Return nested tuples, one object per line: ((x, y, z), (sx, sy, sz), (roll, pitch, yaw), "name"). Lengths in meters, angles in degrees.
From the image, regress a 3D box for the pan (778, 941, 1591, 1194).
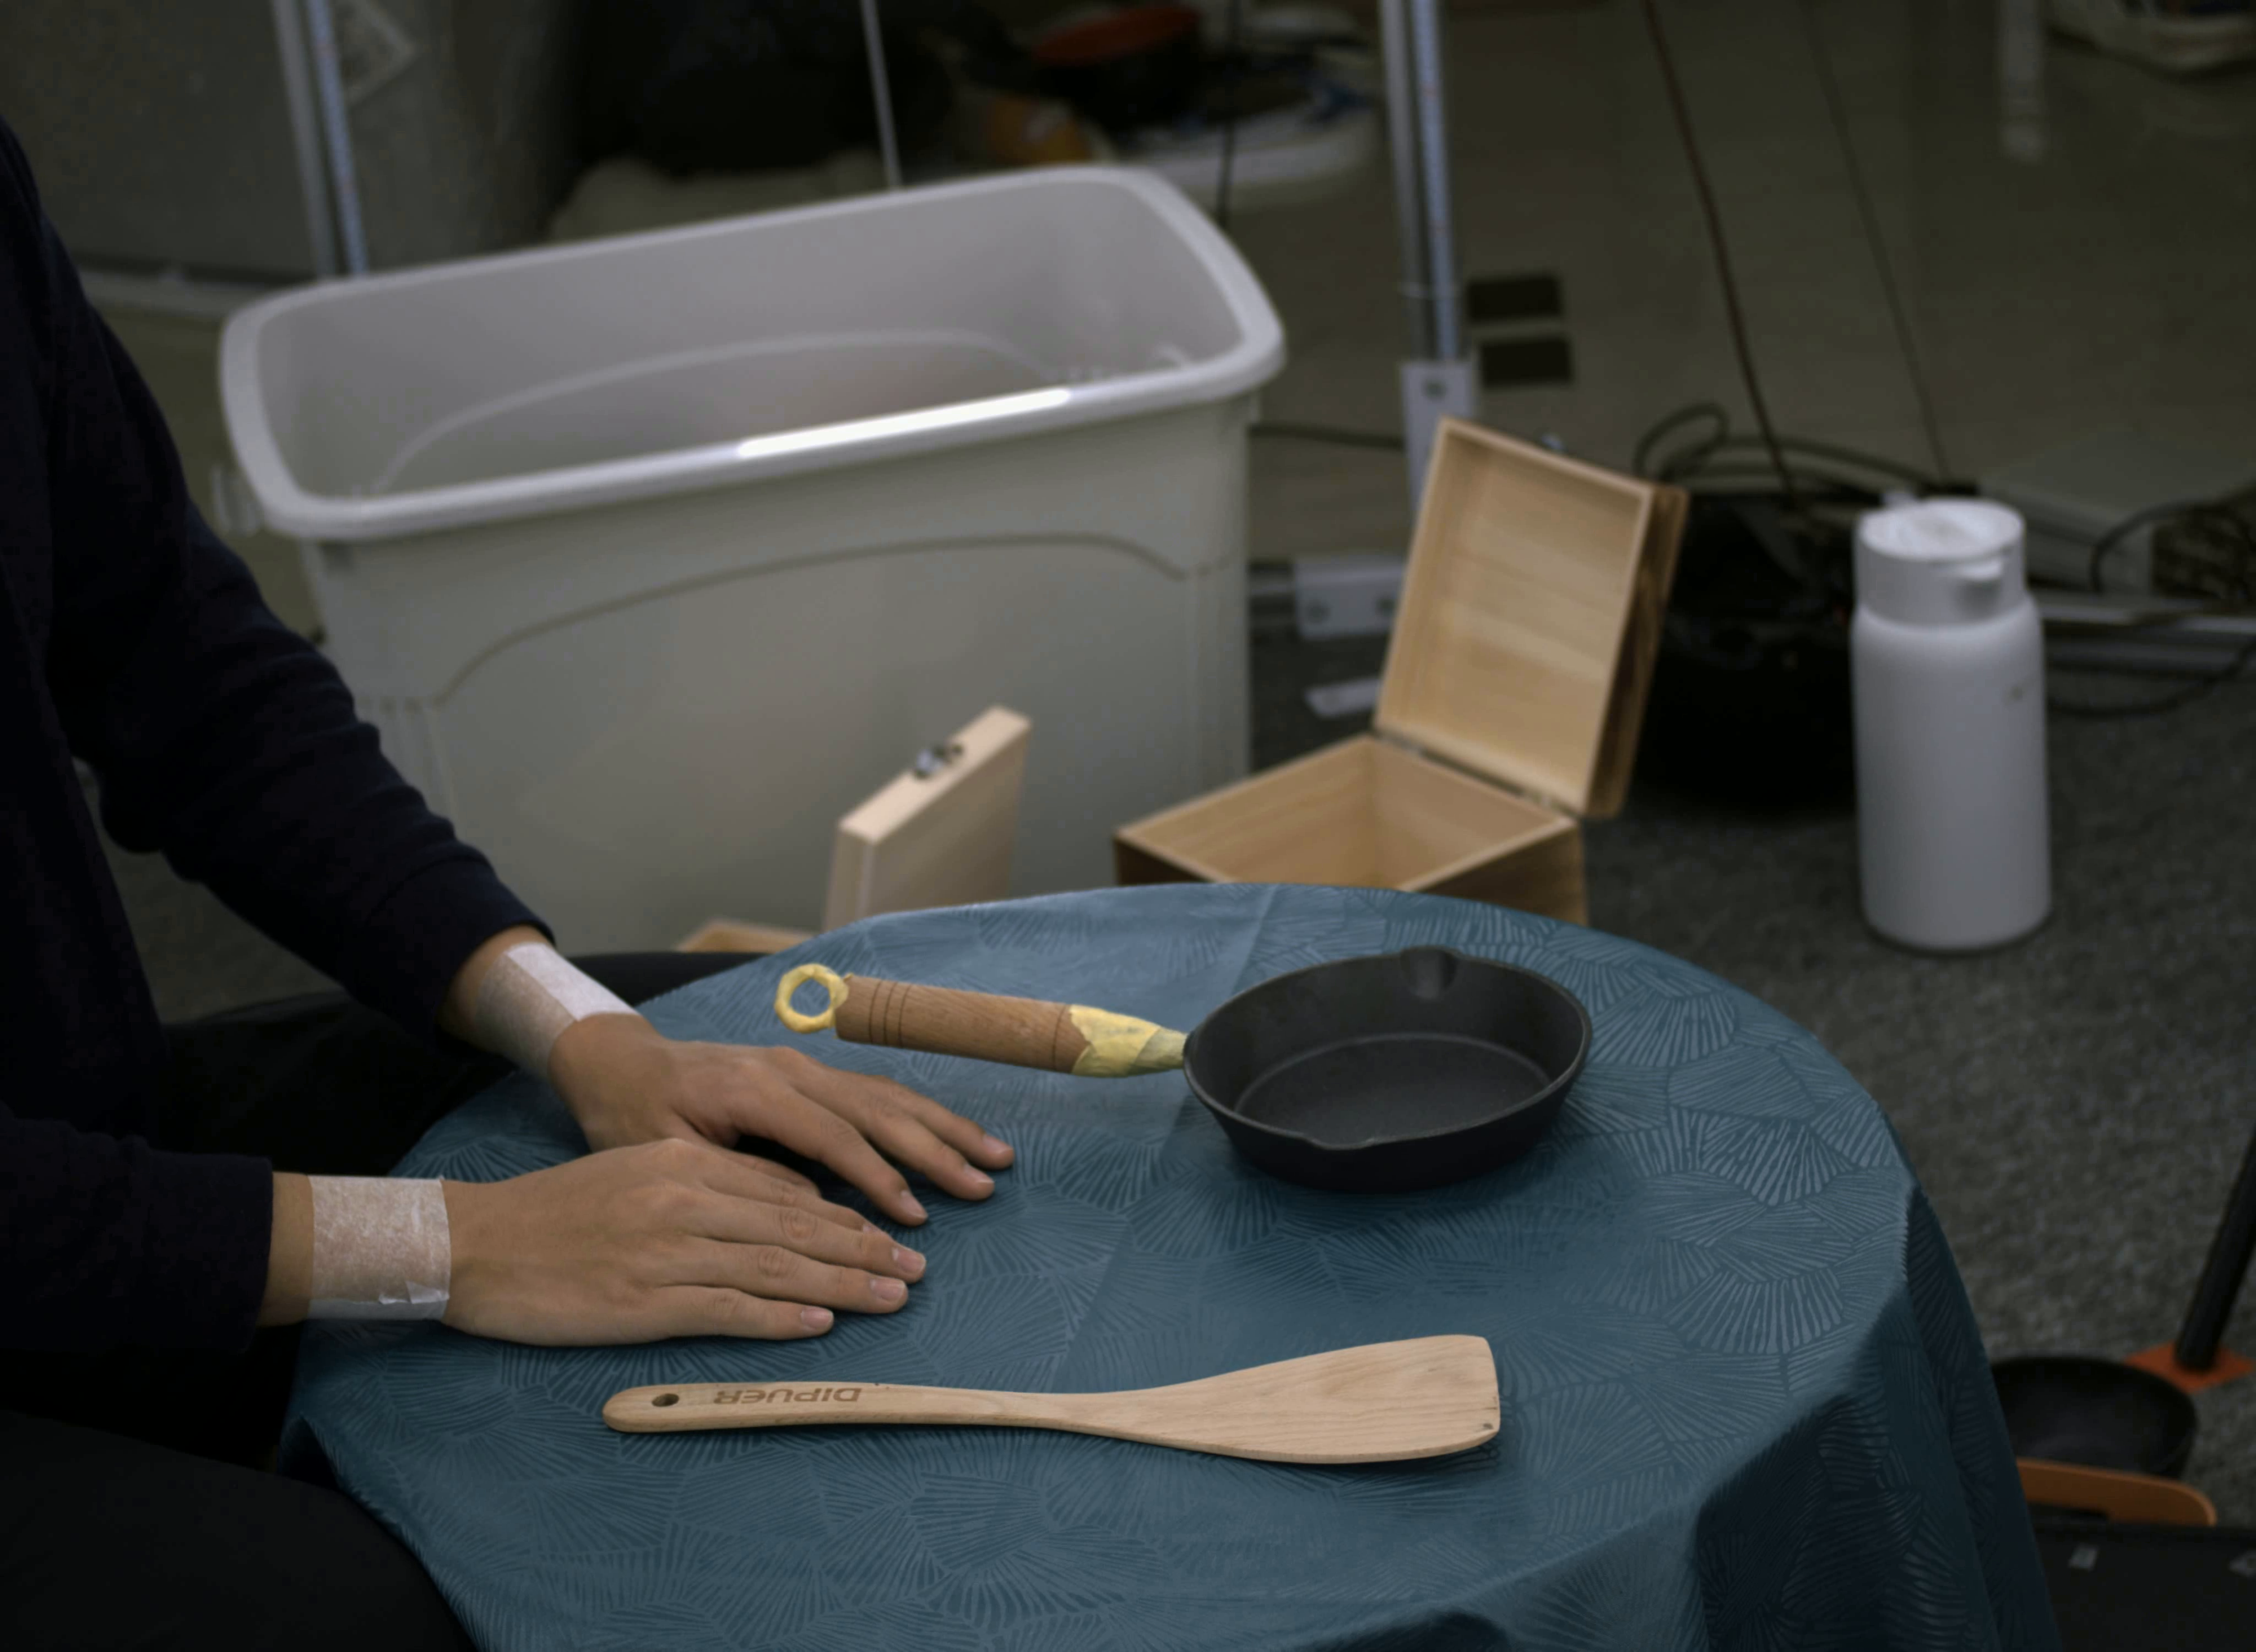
((0.019, 0.086, 2.194), (0.323, 0.050, 0.166), (3, 27, 17), "pan")

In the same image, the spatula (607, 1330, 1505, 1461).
((-0.026, 0.202, 2.000), (0.327, 0.017, 0.079), (-1, 25, 11), "spatula")
